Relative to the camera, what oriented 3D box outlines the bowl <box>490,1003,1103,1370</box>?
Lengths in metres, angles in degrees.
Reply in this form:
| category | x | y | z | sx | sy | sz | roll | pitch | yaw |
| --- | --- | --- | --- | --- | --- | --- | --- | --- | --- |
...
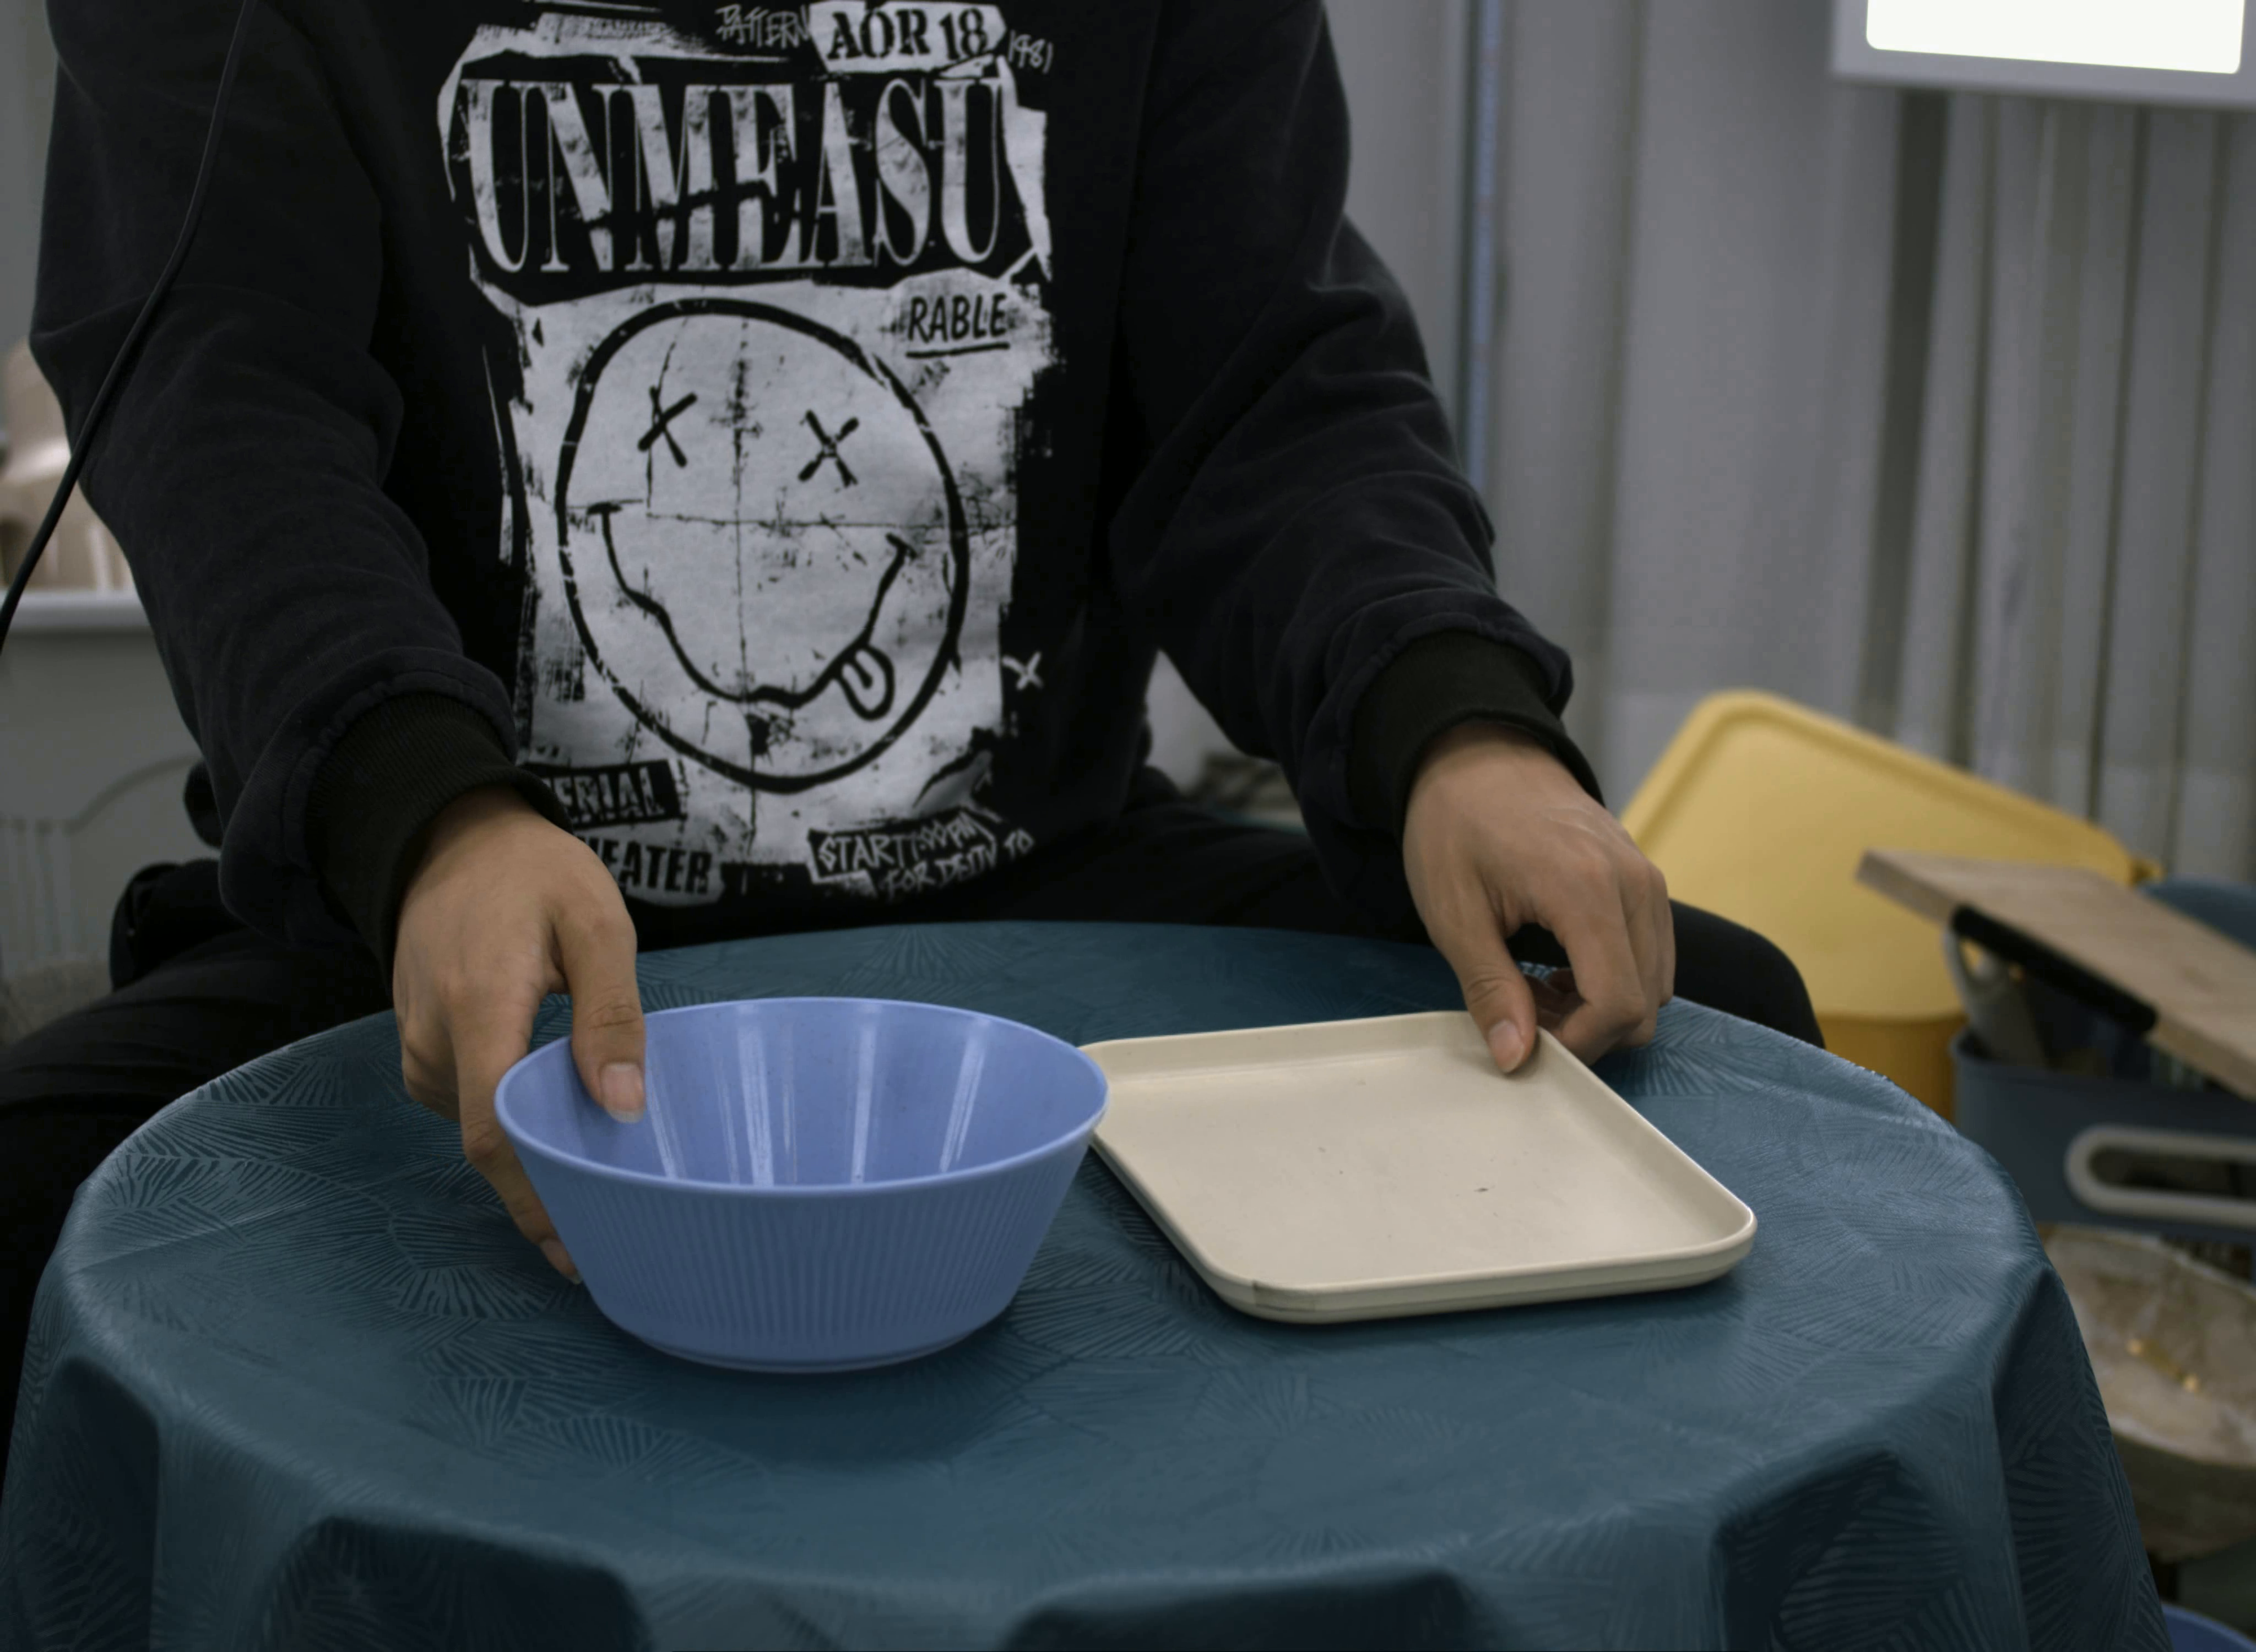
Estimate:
| category | x | y | z | sx | sy | sz | roll | pitch | yaw |
| --- | --- | --- | --- | --- | --- | --- | --- | --- | --- |
| bowl | -0.095 | 0.106 | 1.515 | 0.175 | 0.071 | 0.175 | 2 | 15 | 0 |

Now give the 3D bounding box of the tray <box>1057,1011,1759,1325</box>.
| category | x | y | z | sx | sy | sz | roll | pitch | yaw |
| --- | --- | --- | --- | --- | --- | --- | --- | --- | --- |
| tray | 0.080 | 0.104 | 1.627 | 0.171 | 0.017 | 0.237 | -3 | 16 | -16 |
